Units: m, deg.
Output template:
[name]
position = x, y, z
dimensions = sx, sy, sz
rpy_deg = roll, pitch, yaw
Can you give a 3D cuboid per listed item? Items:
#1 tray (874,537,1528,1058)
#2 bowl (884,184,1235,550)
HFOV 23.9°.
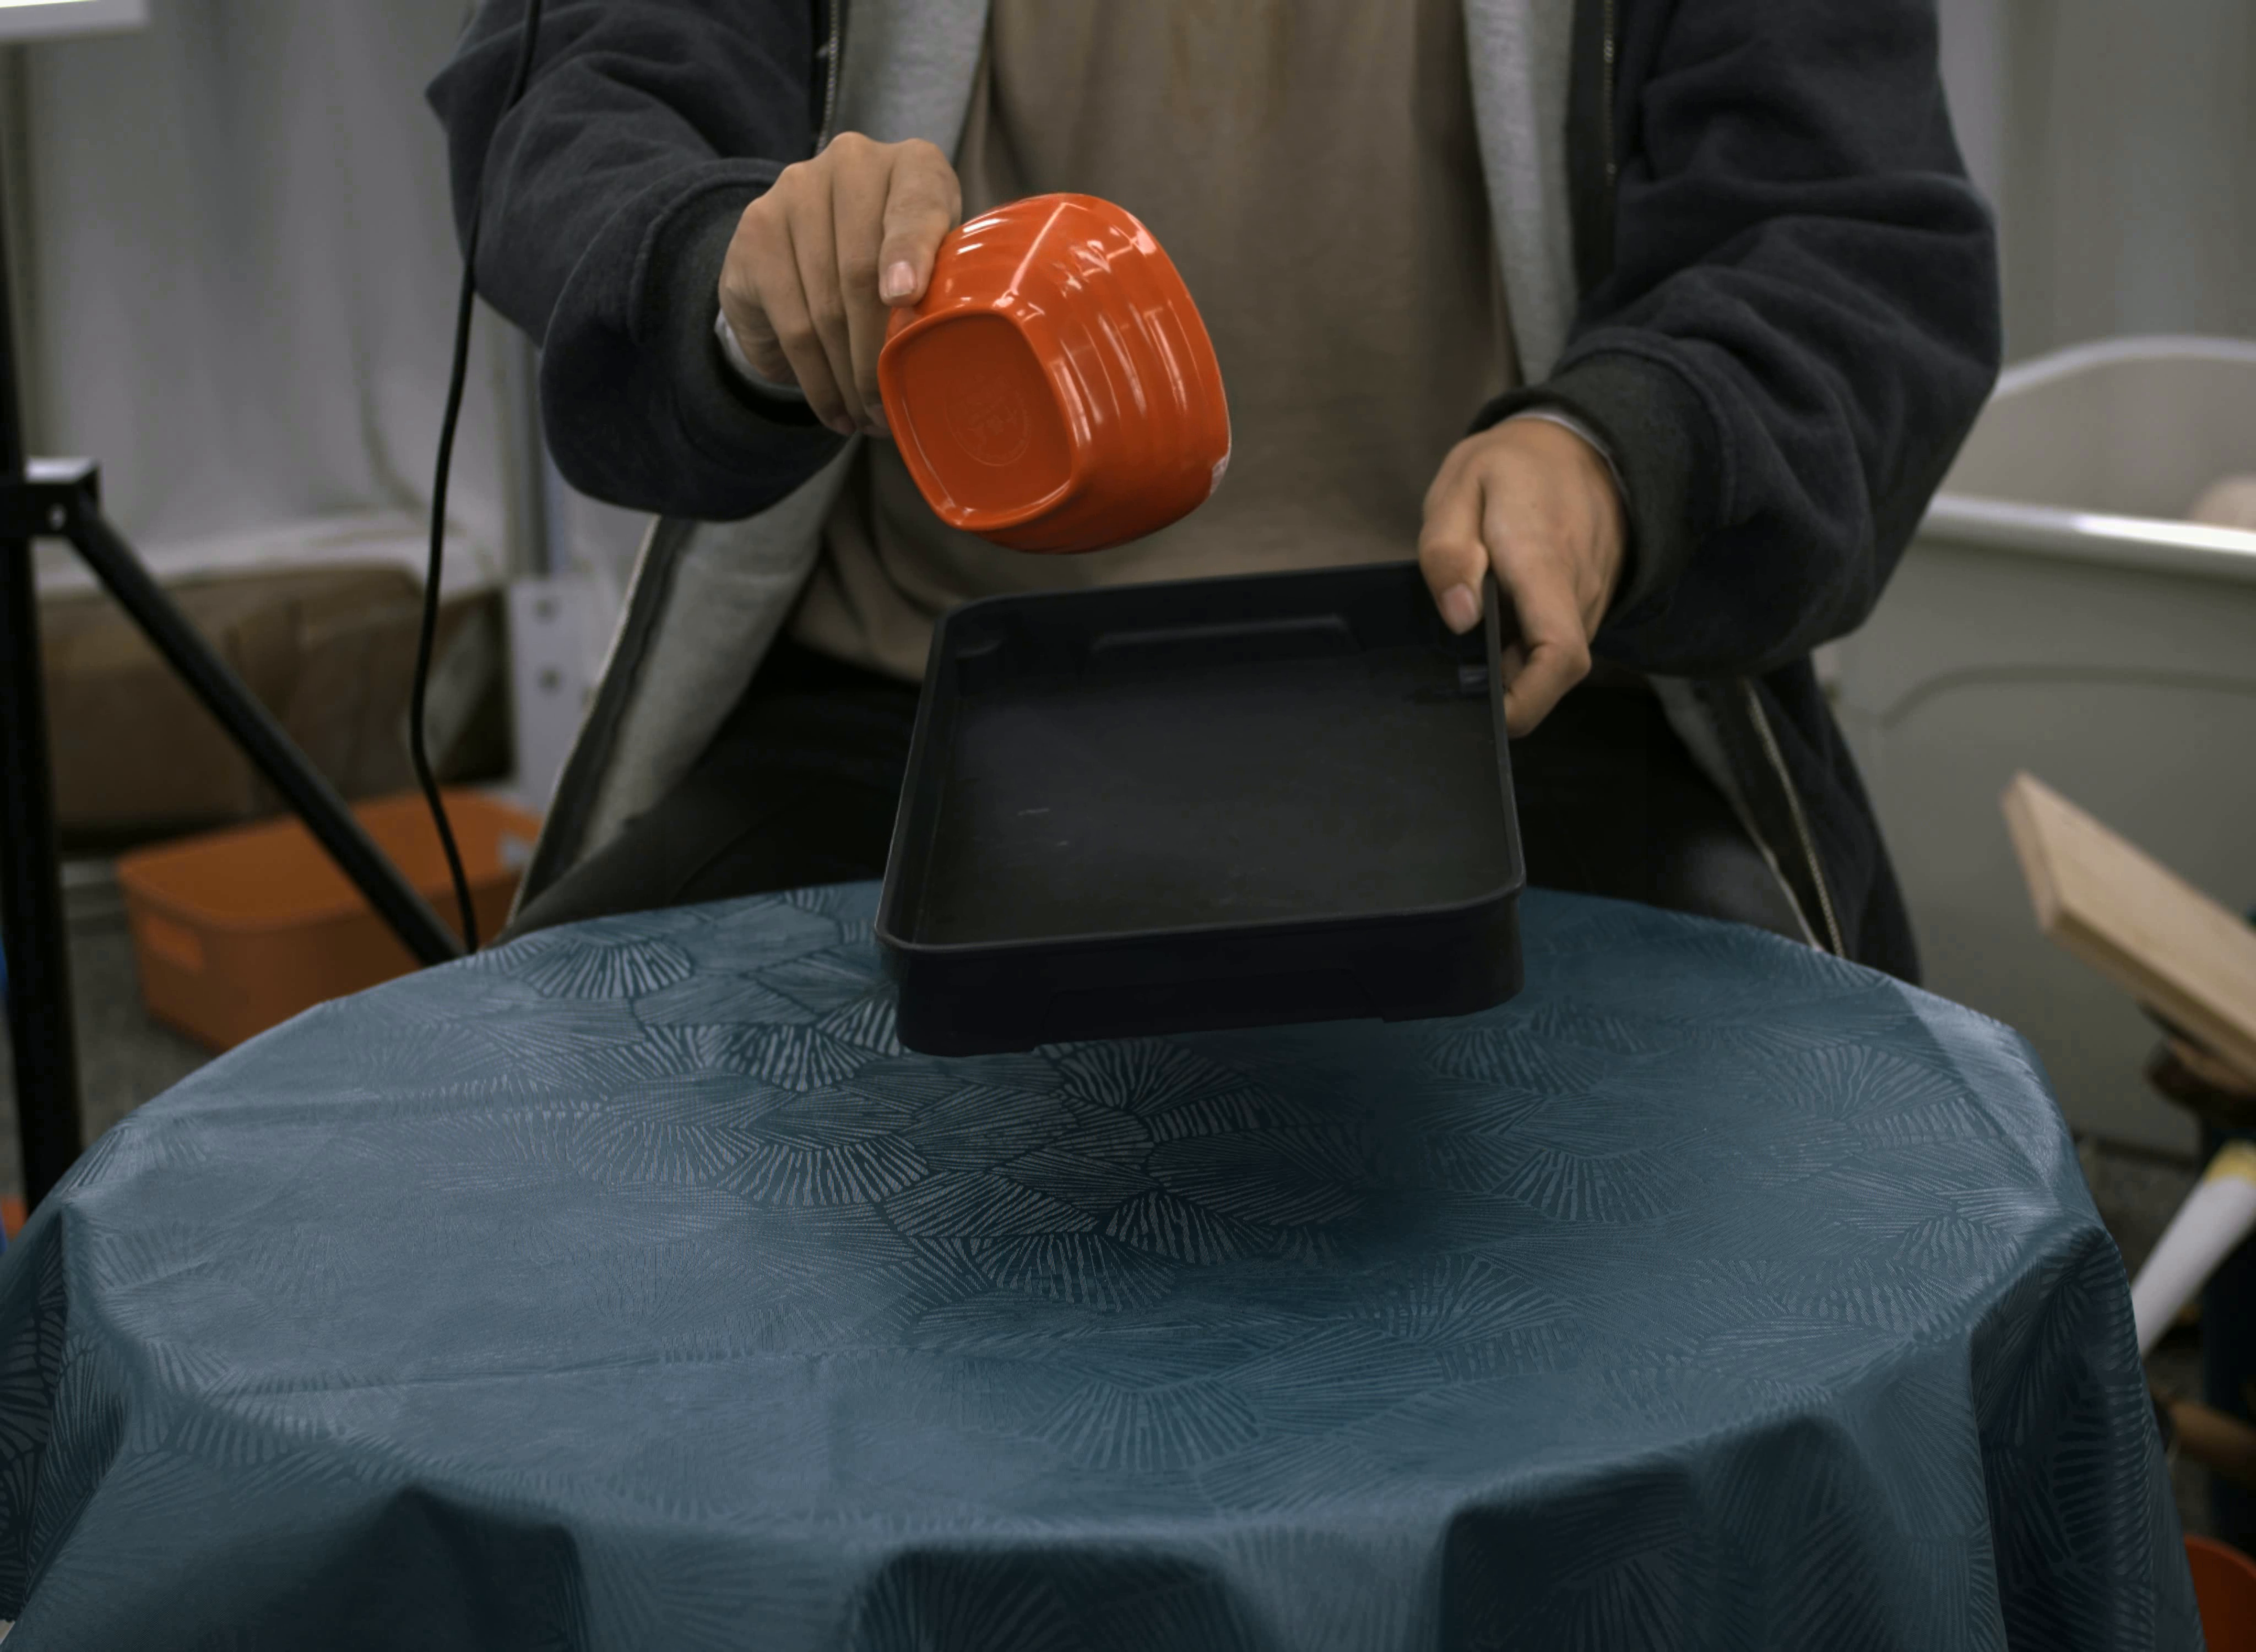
[tray]
position = 0.024, -0.014, 1.610
dimensions = 0.184, 0.037, 0.319
rpy_deg = -5, 21, 4
[bowl]
position = -0.029, -0.130, 1.598
dimensions = 0.121, 0.118, 0.050
rpy_deg = 10, 28, 37
